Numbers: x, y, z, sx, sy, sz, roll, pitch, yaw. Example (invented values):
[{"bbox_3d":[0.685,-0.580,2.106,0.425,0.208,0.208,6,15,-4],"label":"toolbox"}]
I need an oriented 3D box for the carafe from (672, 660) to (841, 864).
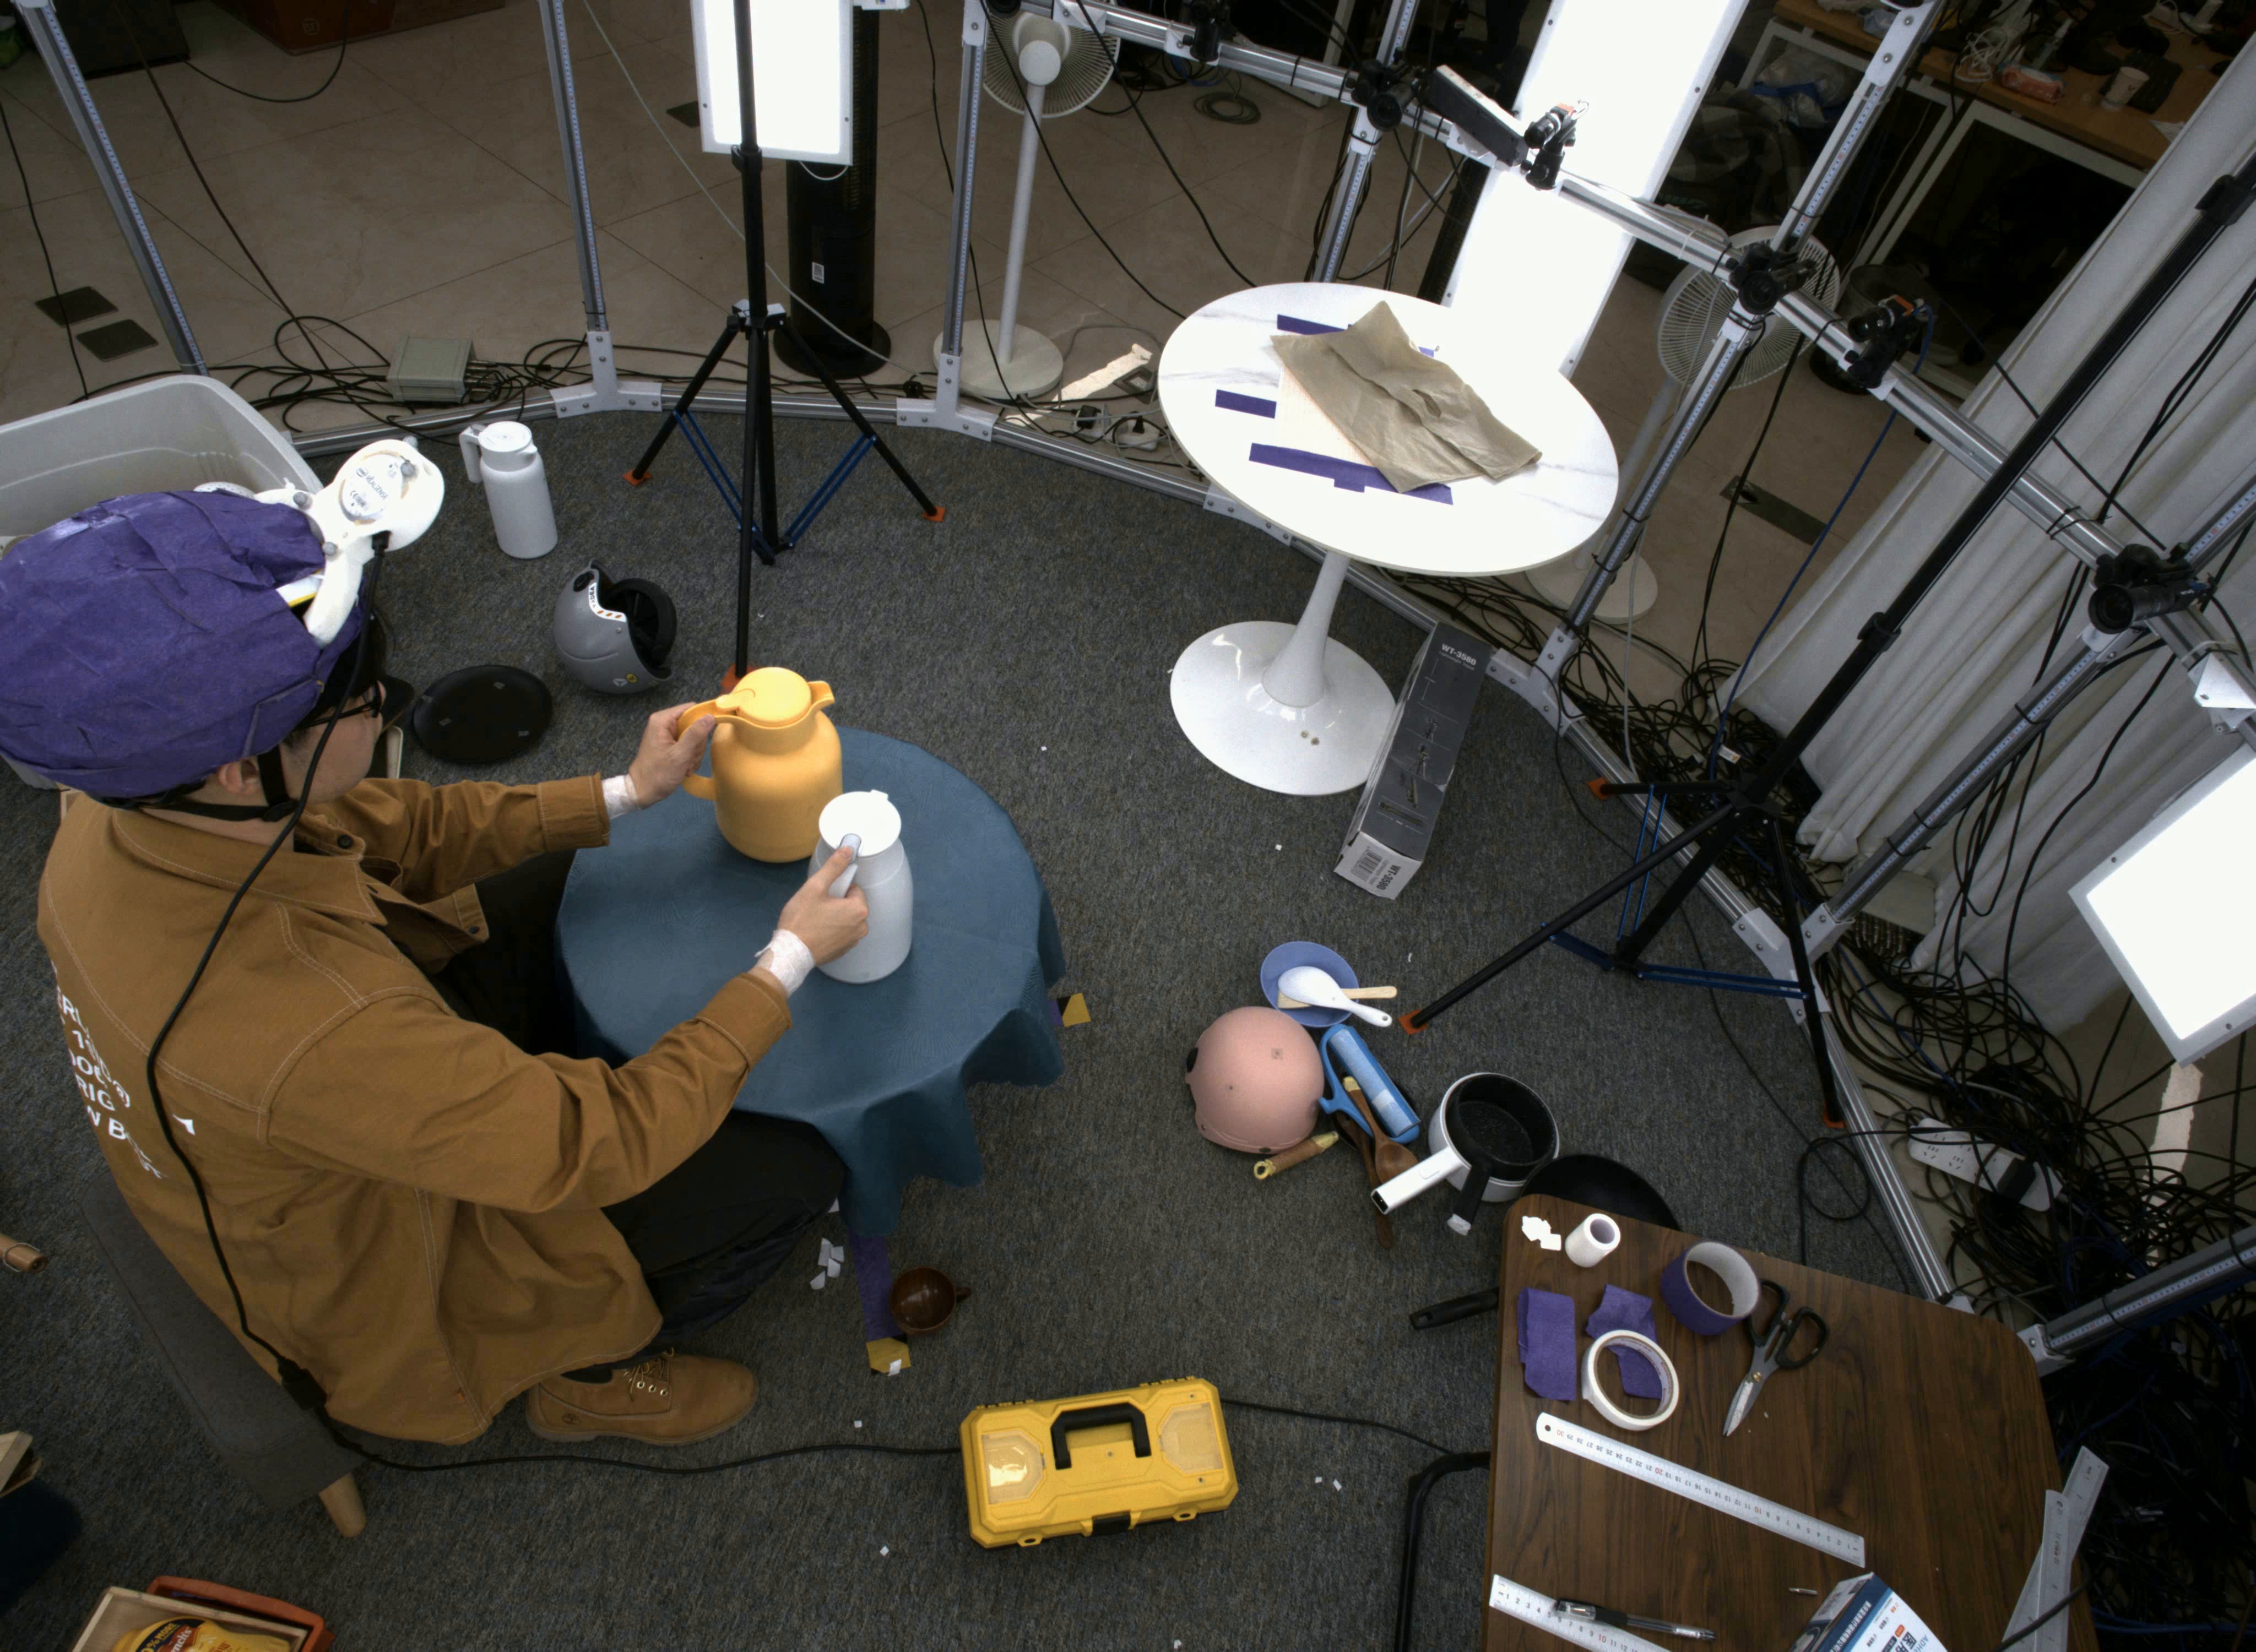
[{"bbox_3d":[-0.459,-0.083,1.606,0.203,0.266,0.159,-10,53,-21],"label":"carafe"}]

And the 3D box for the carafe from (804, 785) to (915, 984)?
[{"bbox_3d":[-0.324,0.078,1.529,0.131,0.254,0.166,16,52,2],"label":"carafe"}]
